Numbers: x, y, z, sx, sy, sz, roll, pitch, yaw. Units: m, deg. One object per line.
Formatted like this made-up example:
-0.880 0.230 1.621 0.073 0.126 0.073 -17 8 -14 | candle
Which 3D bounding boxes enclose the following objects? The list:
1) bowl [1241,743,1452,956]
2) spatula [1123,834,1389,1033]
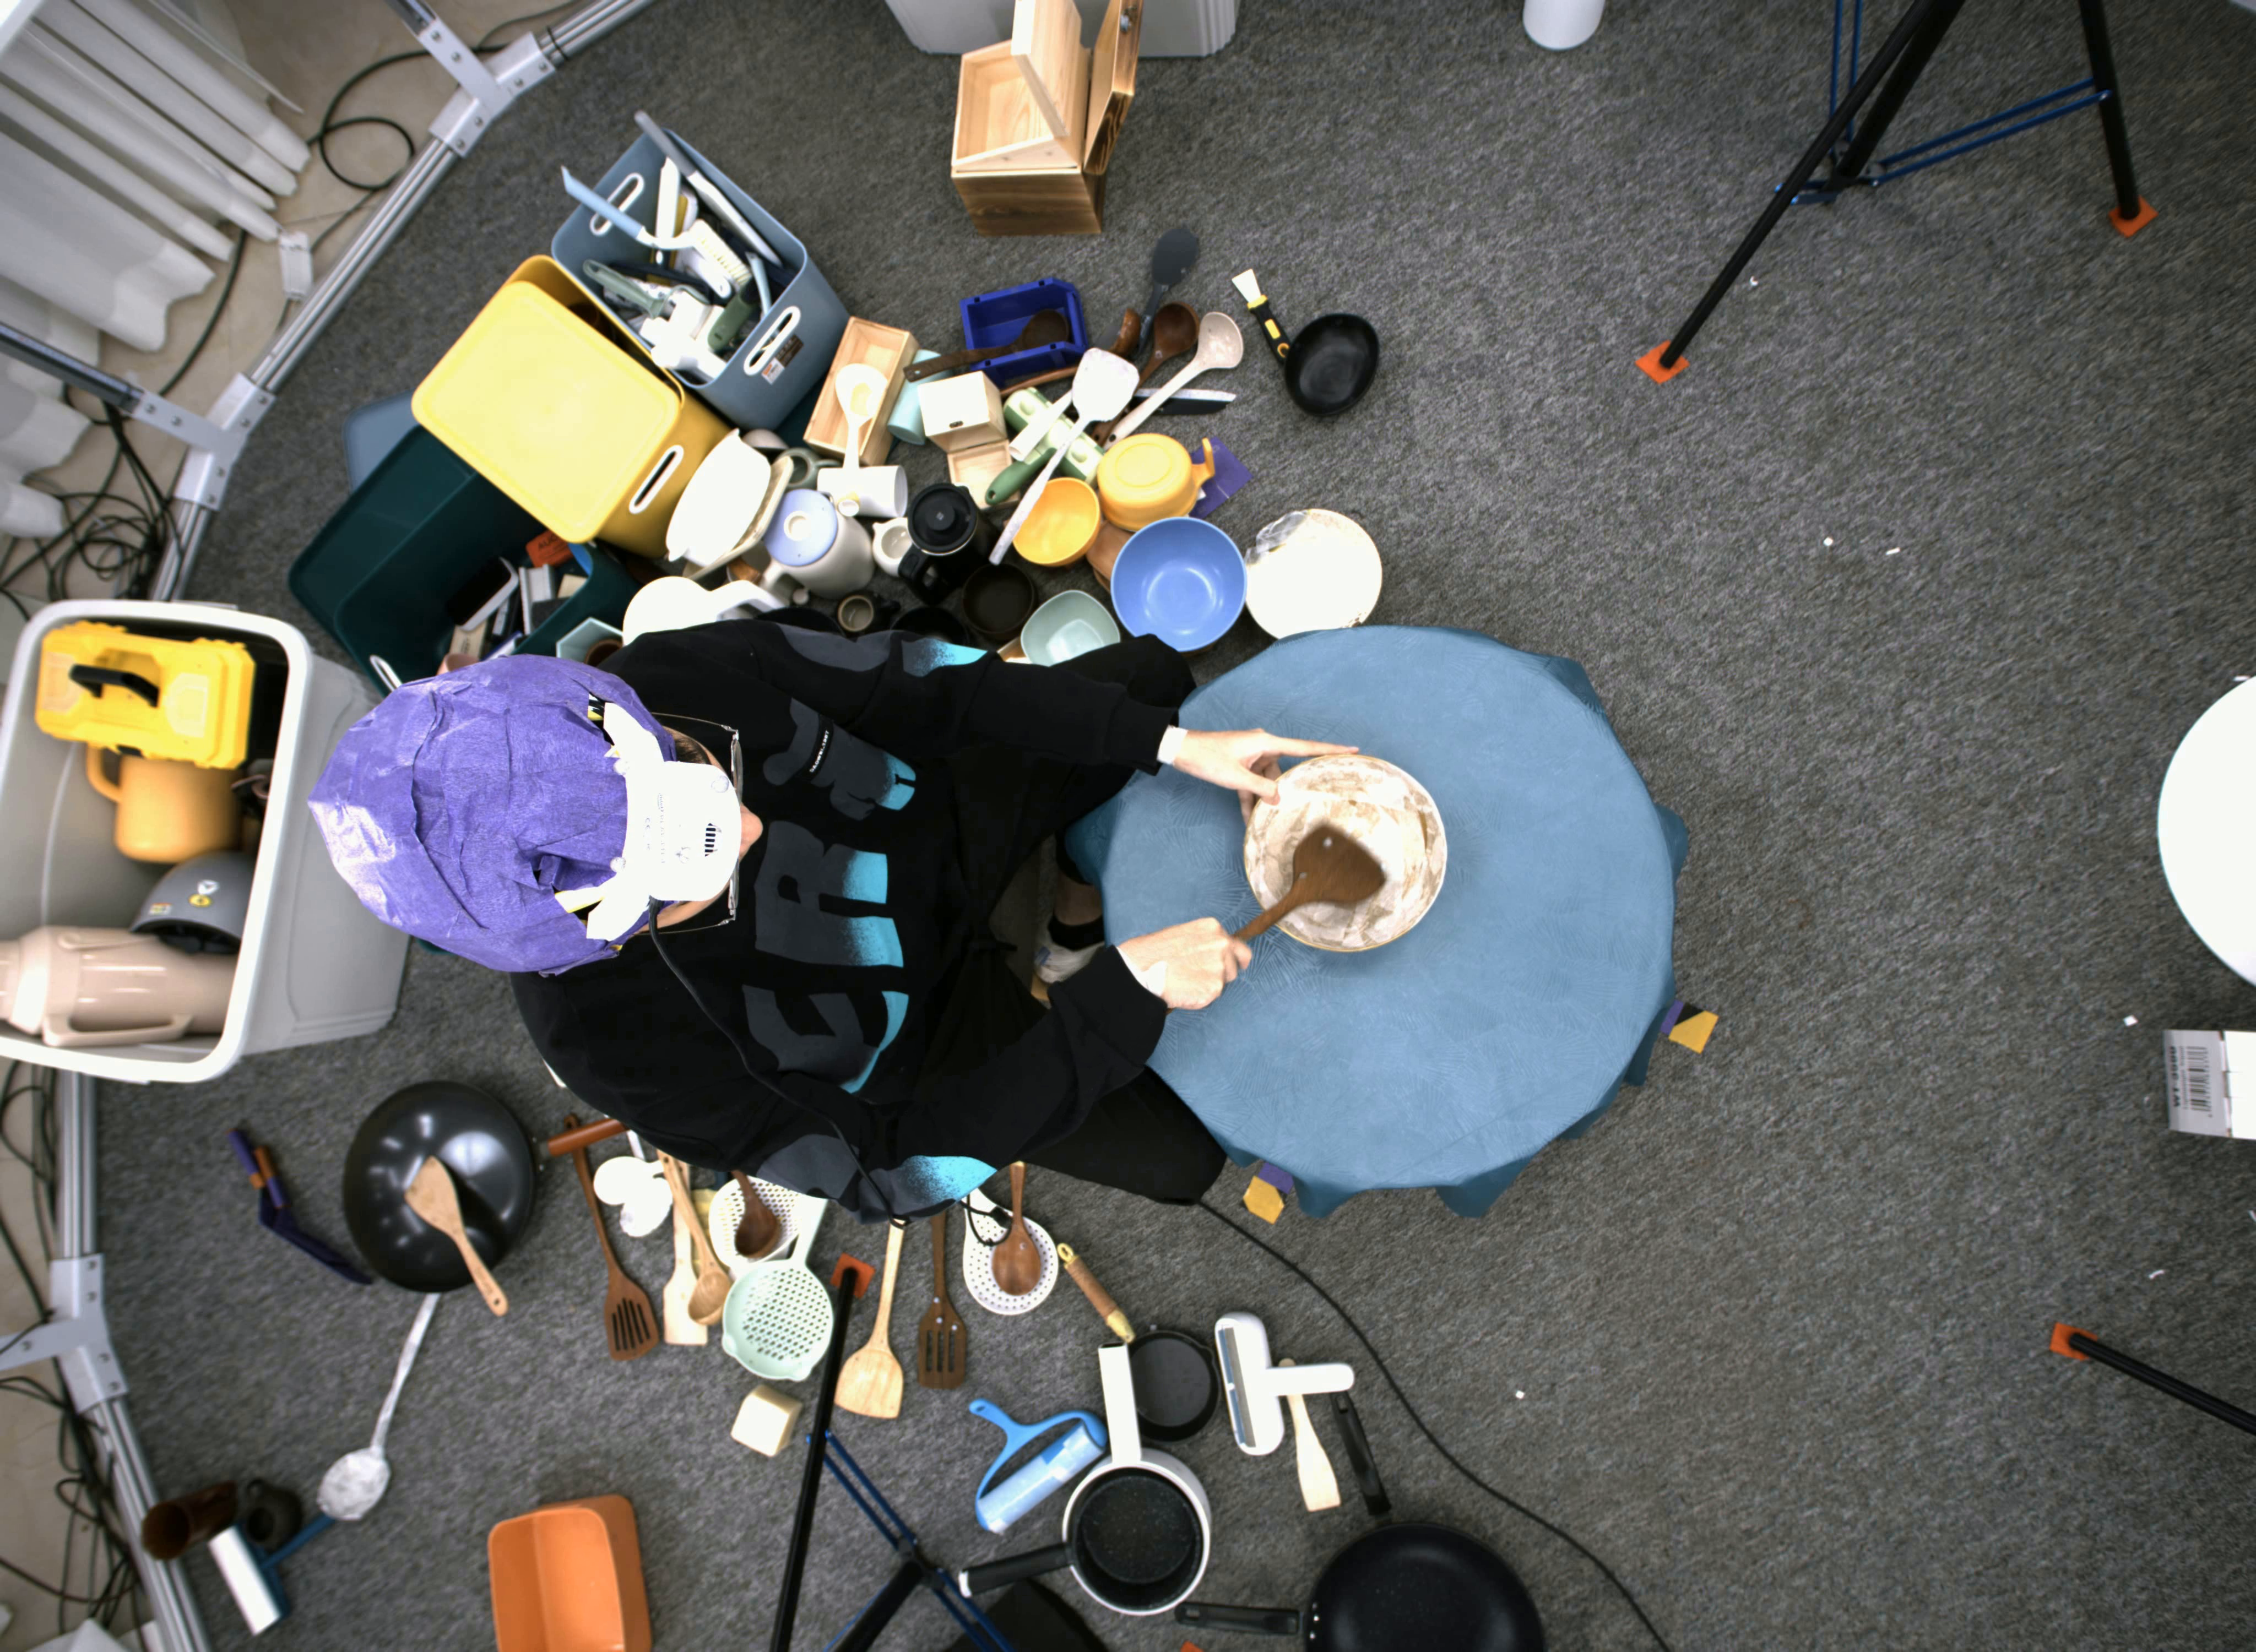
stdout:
0.217 0.023 1.416 0.215 0.094 0.215 0 95 0 | bowl
0.123 0.102 1.320 0.095 0.378 0.016 42 134 19 | spatula
